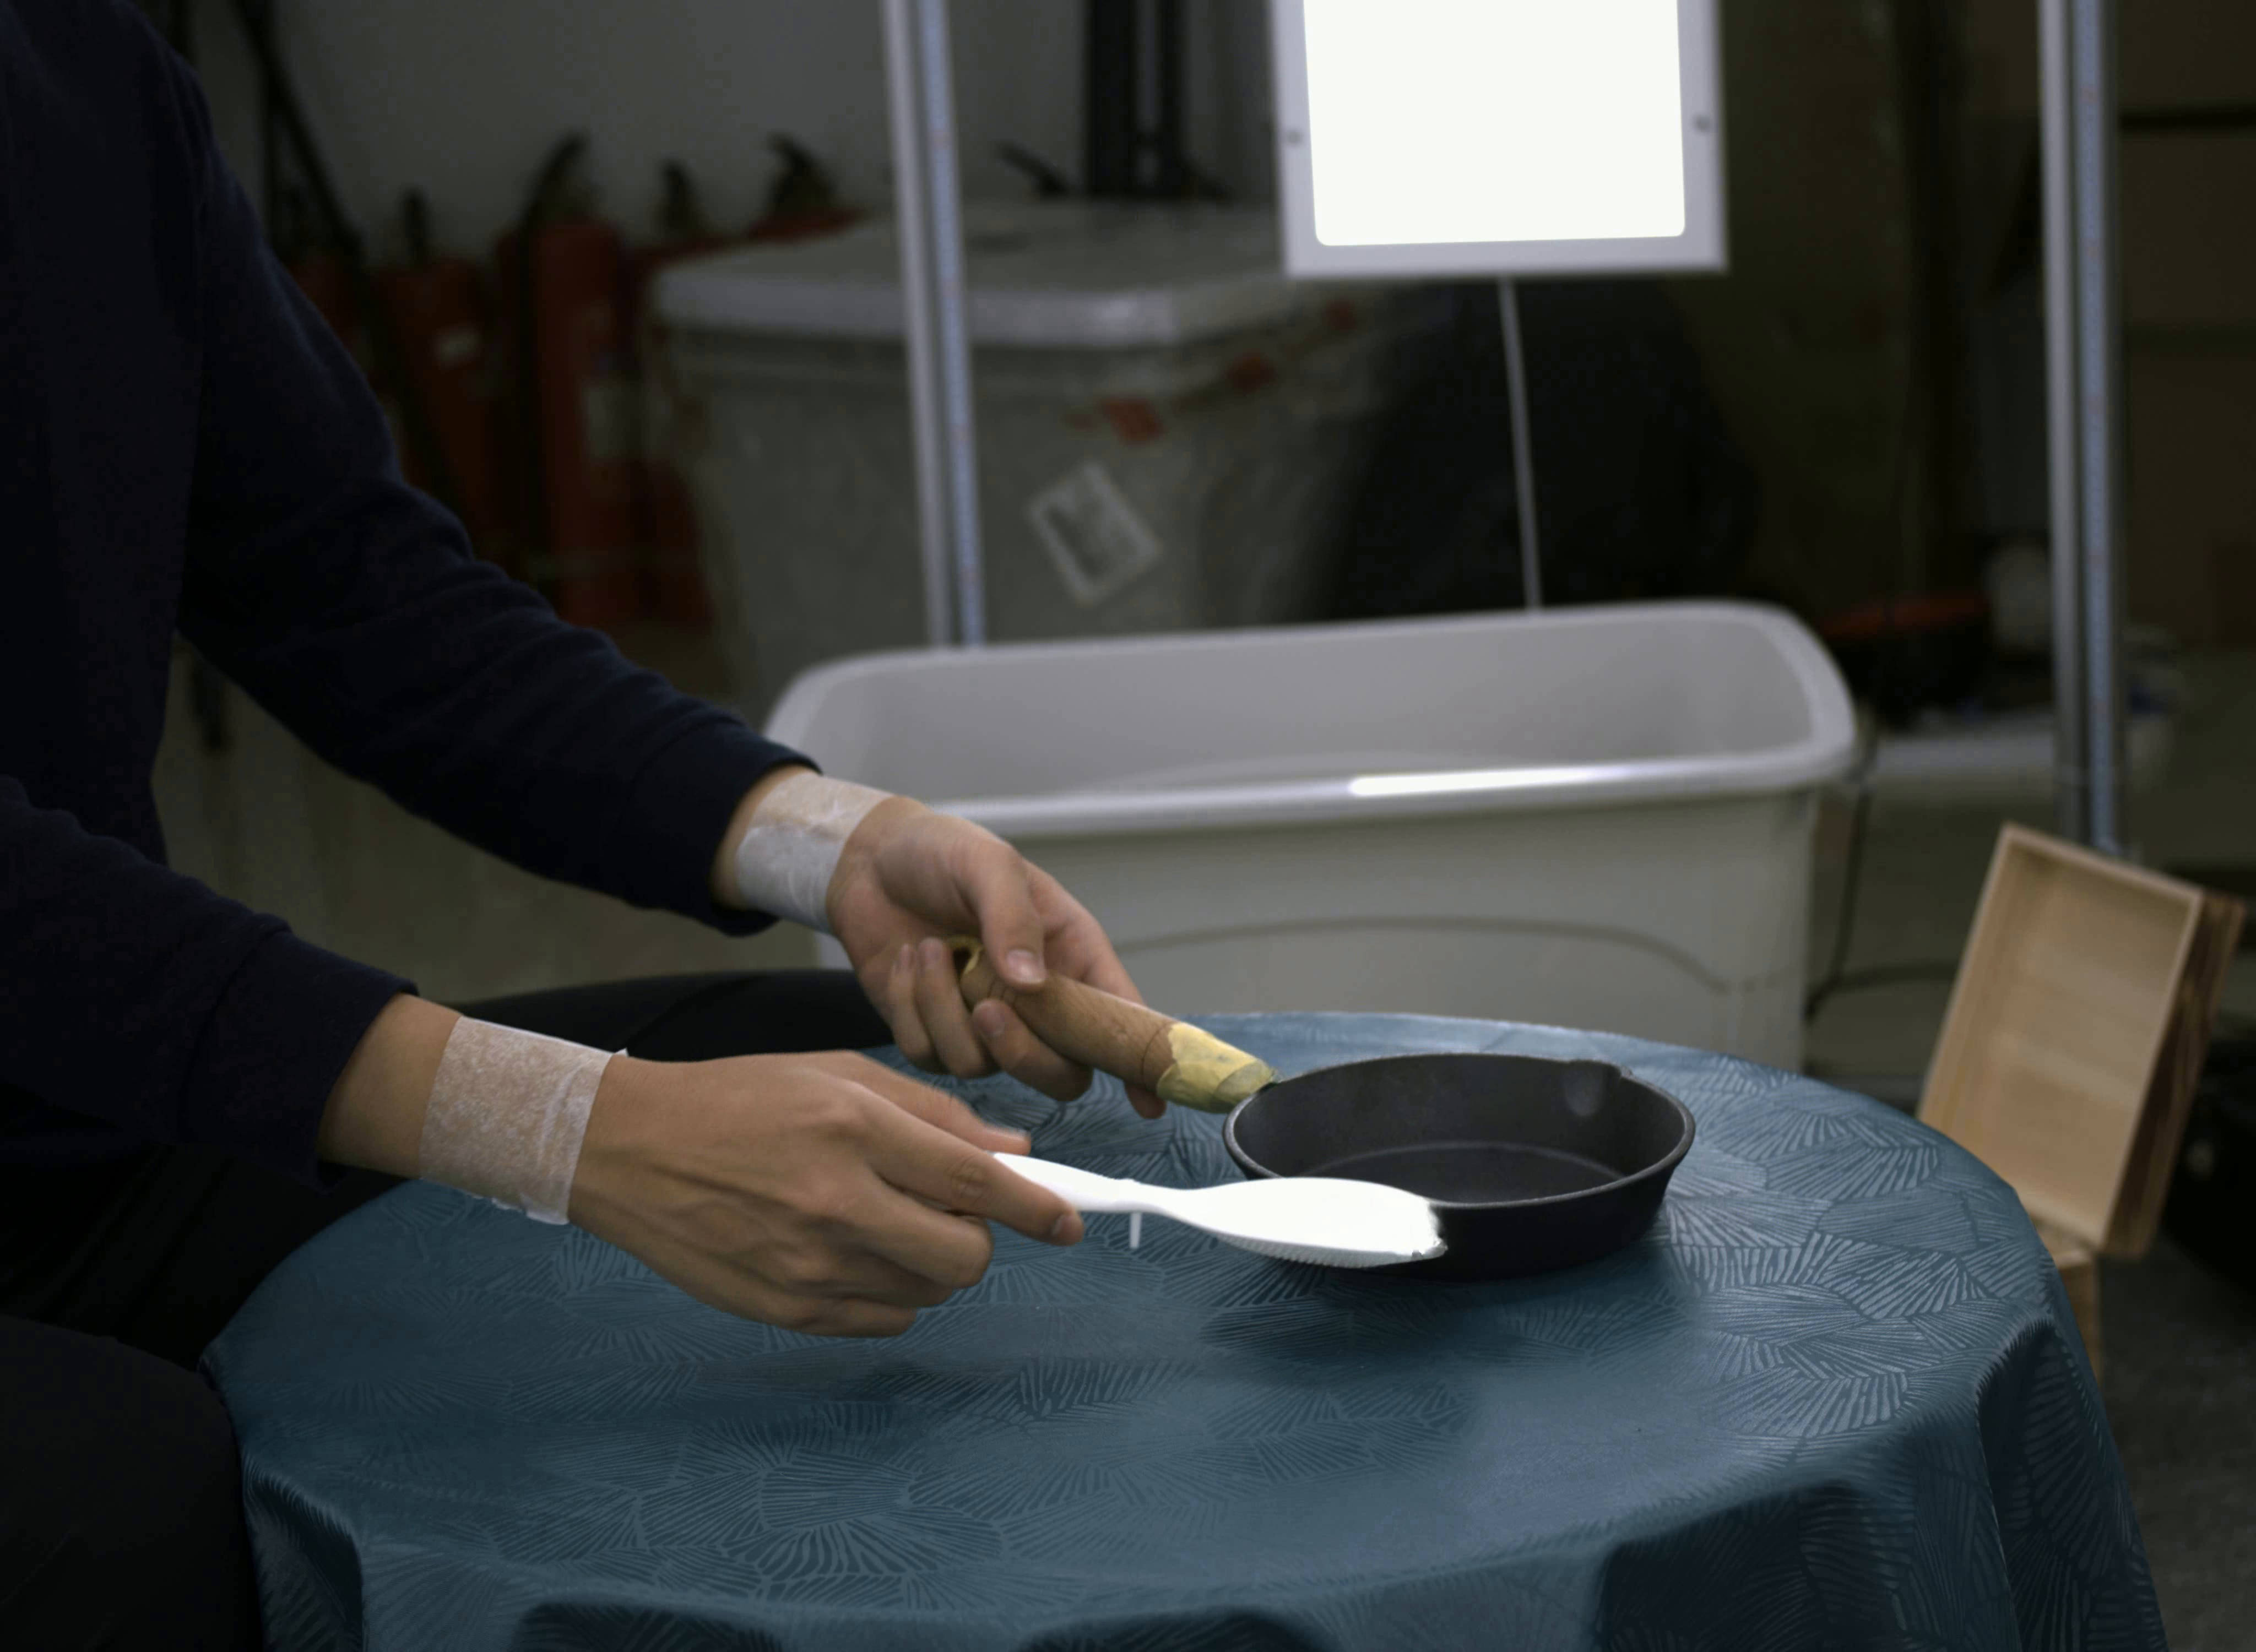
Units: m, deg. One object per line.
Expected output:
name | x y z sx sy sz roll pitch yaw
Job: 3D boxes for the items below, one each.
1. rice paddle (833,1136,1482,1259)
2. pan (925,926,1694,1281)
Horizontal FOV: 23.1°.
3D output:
rice paddle | 0.010 0.116 1.729 0.204 0.029 0.068 3 17 0
pan | 0.049 0.090 1.884 0.164 0.050 0.331 -17 23 -42
